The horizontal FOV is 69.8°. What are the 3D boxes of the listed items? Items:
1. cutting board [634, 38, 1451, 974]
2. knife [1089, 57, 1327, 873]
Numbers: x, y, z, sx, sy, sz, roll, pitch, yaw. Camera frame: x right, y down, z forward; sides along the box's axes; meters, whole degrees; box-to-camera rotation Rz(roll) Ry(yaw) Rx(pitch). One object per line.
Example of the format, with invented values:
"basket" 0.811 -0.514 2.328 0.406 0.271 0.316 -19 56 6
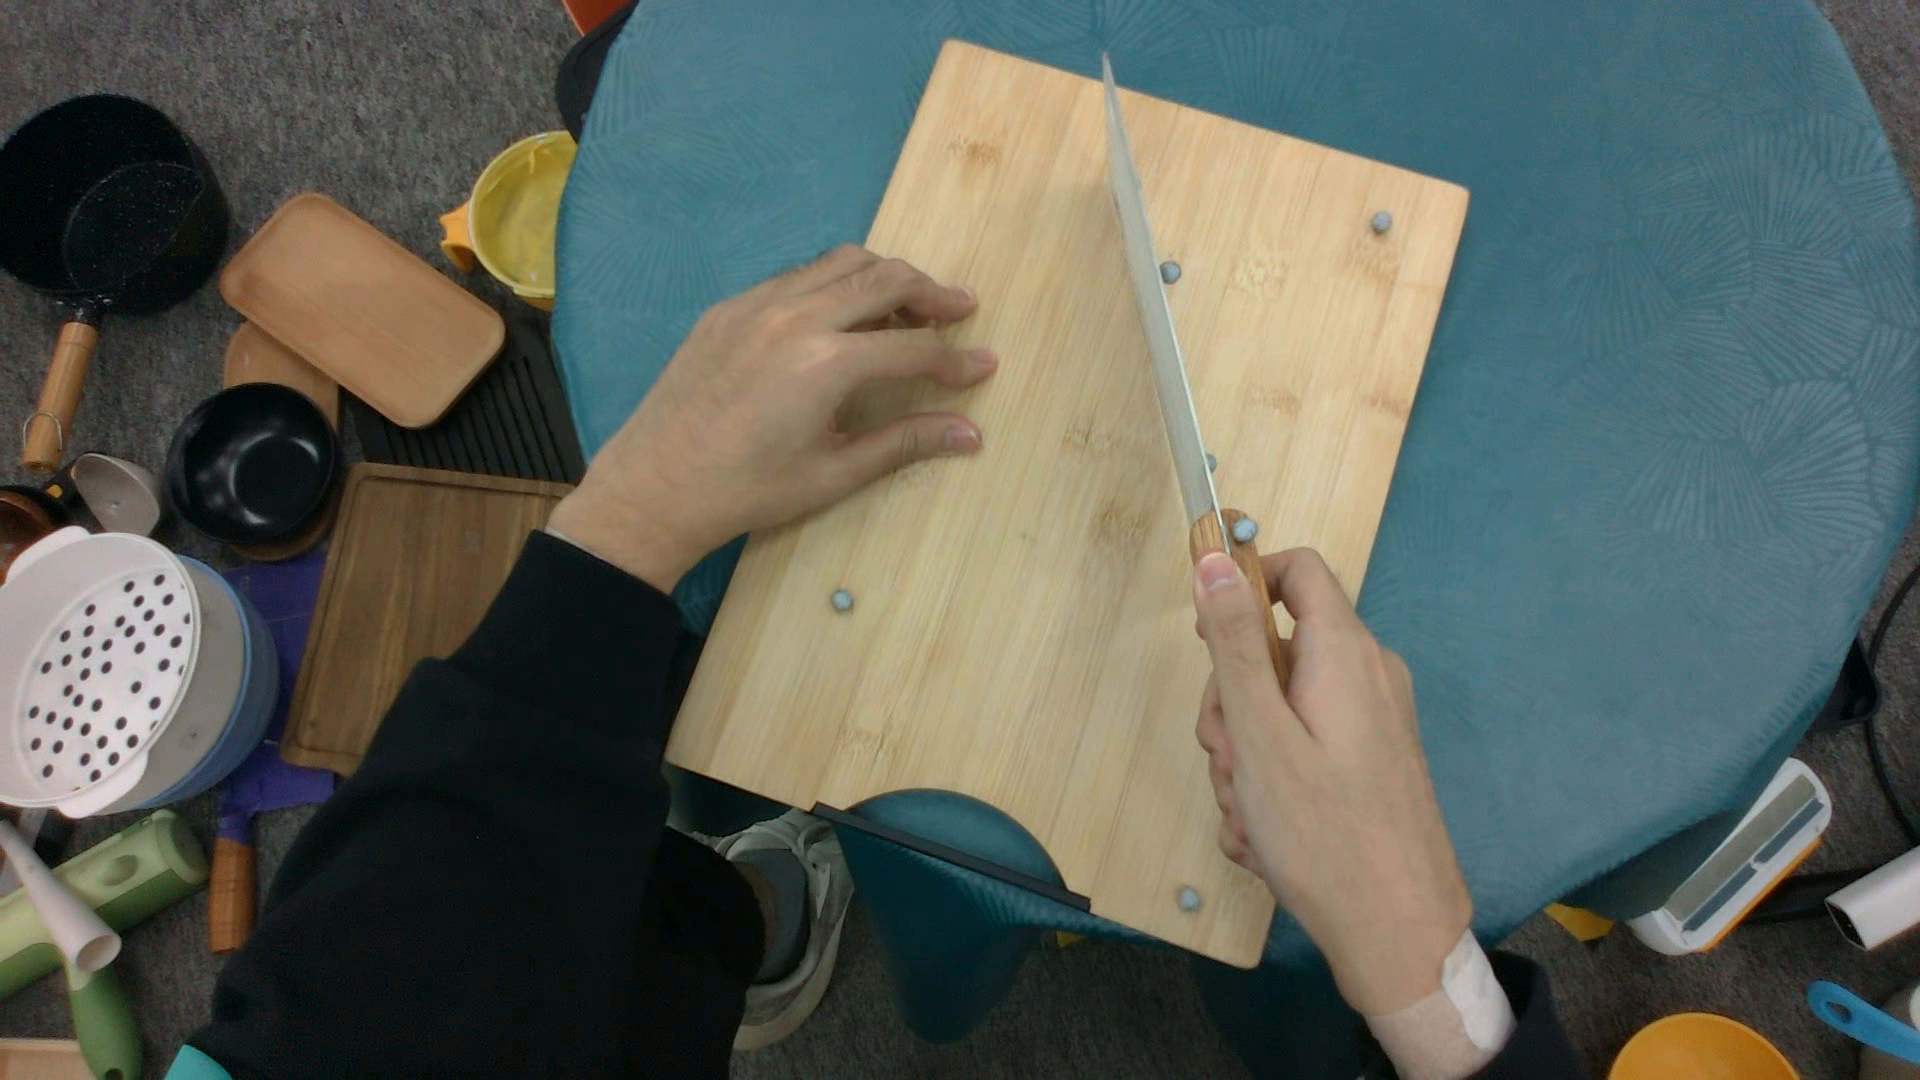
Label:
"cutting board" 0.044 -0.030 0.573 0.250 0.023 0.349 17 75 5
"knife" 0.082 -0.030 0.509 0.021 0.093 0.306 -12 73 2
